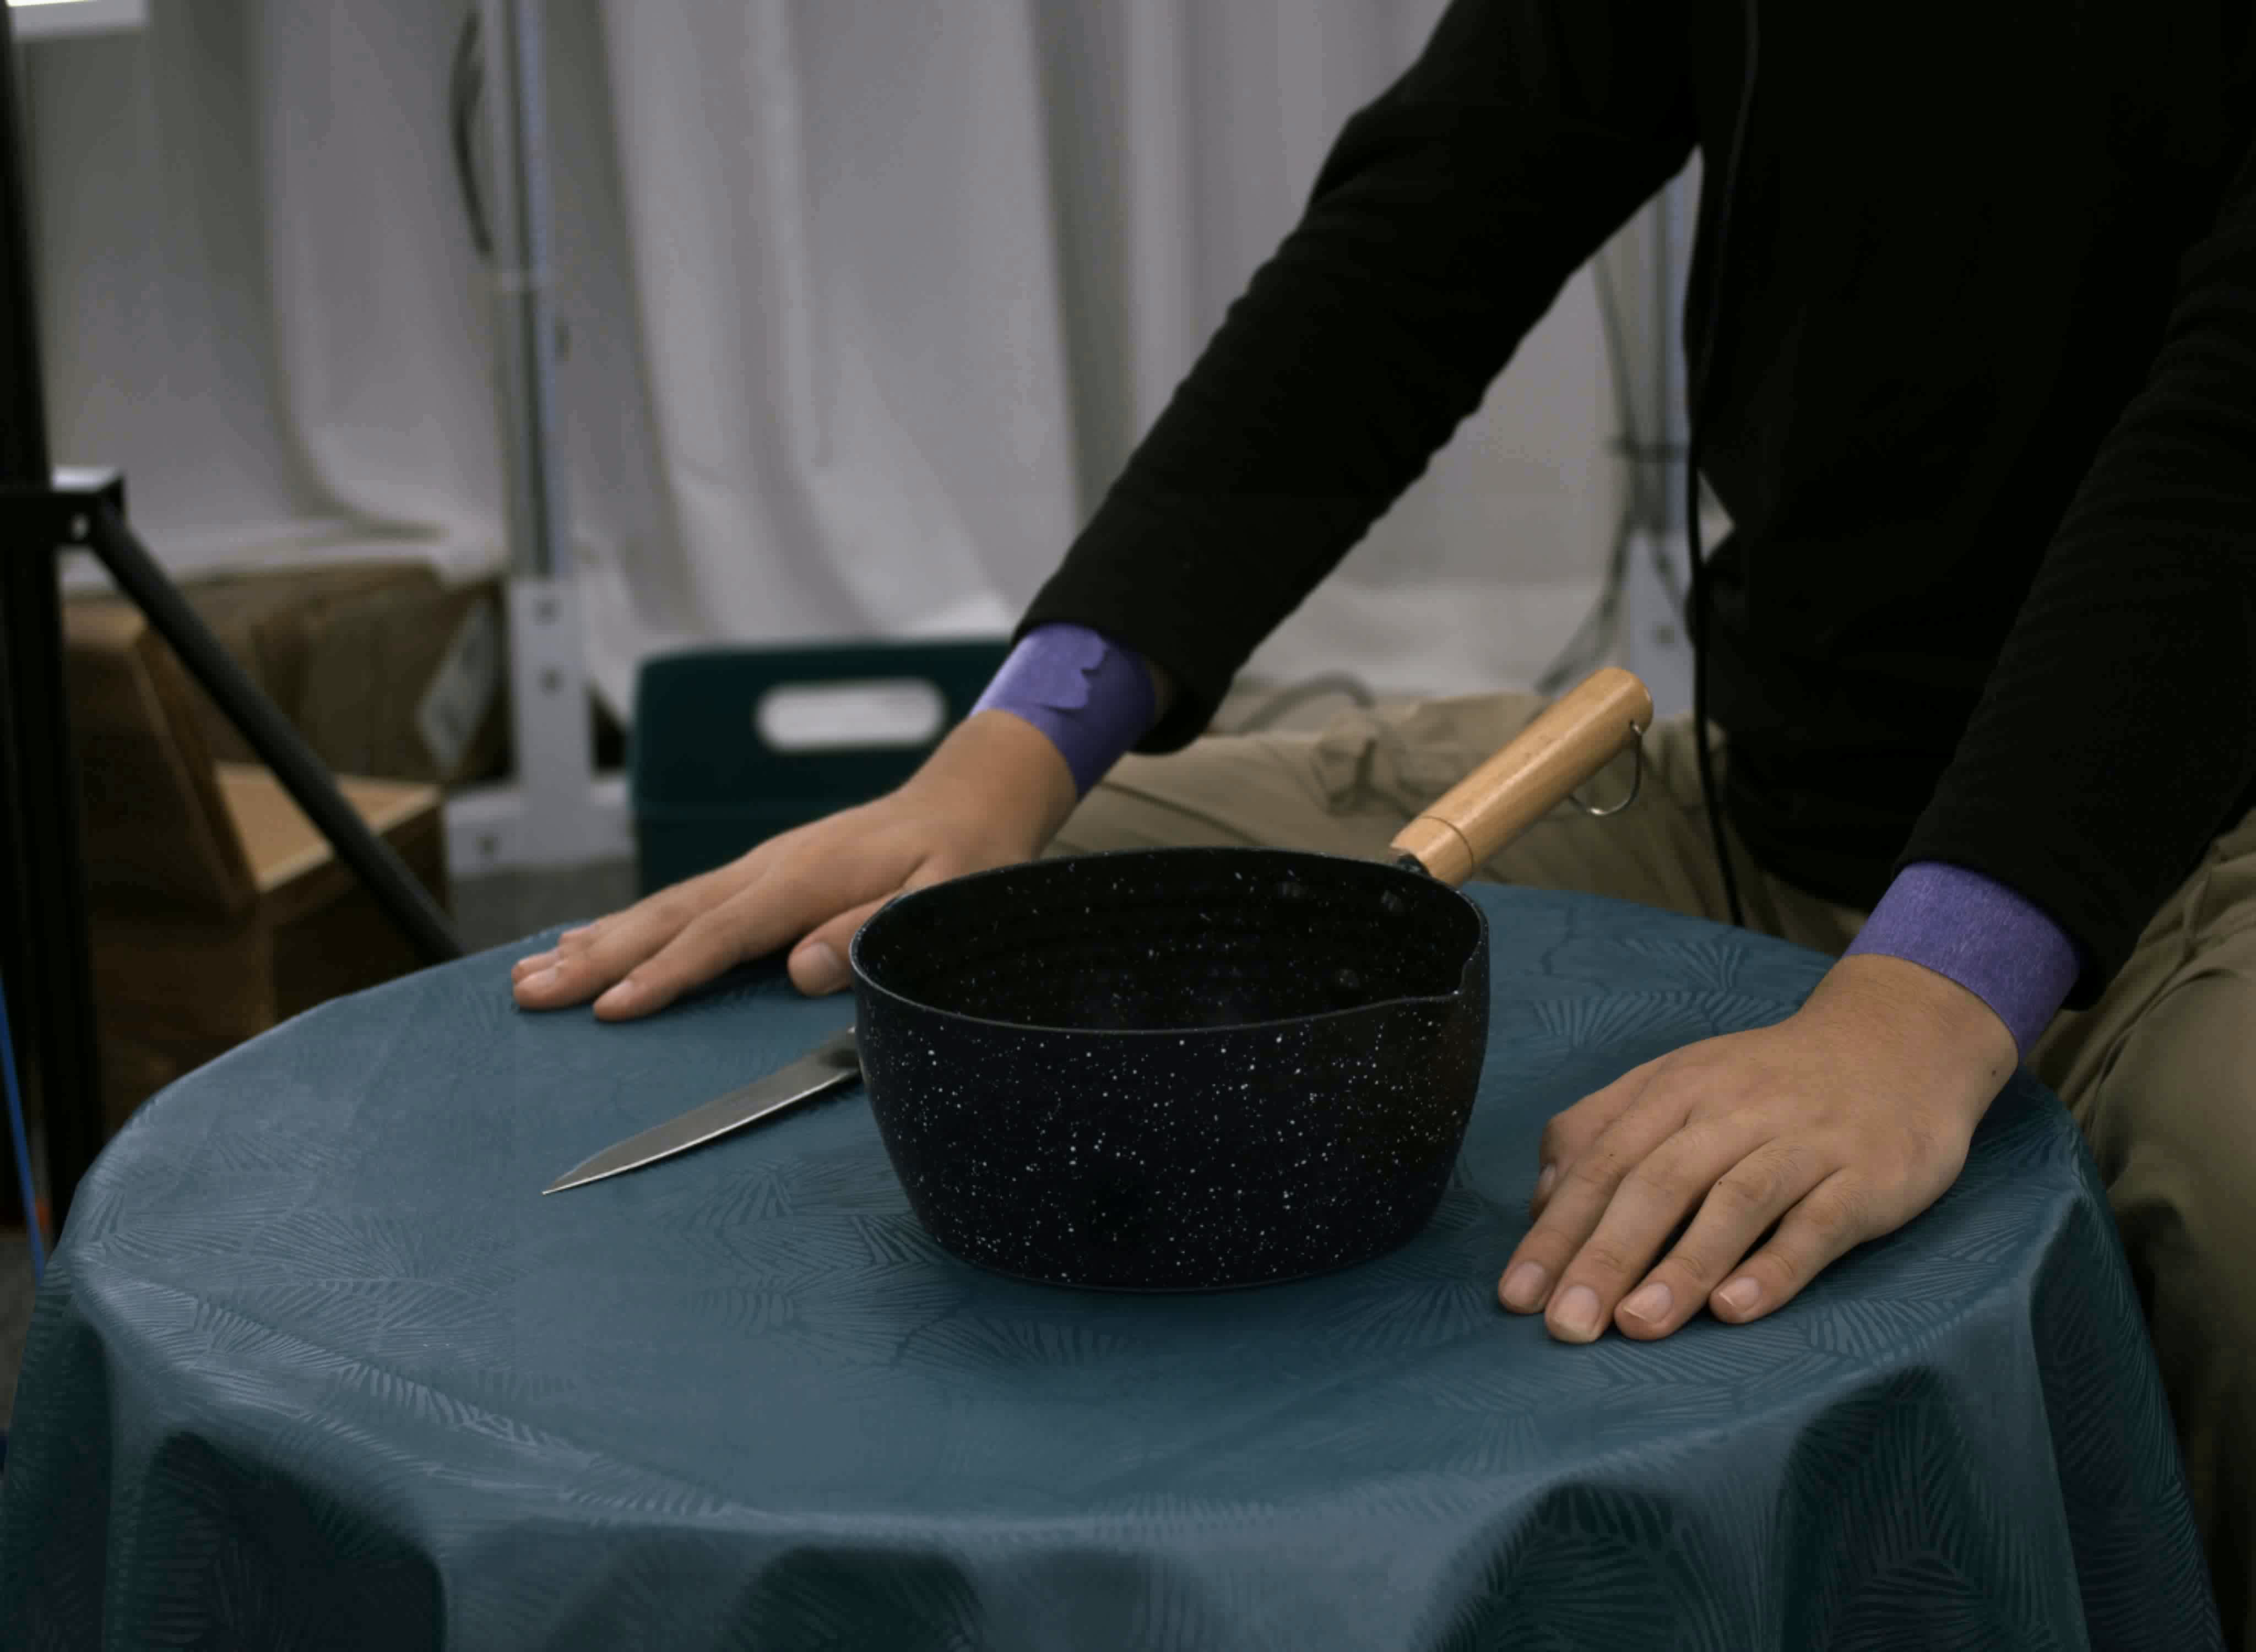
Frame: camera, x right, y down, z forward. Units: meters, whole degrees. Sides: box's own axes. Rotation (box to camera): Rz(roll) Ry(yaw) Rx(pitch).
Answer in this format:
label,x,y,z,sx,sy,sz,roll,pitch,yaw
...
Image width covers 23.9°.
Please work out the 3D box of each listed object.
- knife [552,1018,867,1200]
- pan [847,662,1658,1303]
label,x,y,z,sx,sy,sz,roll,pitch,yaw
knife,-0.097,0.077,1.660,0.025,0.016,0.233,12,24,39
pan,0.059,0.042,1.586,0.212,0.108,0.336,9,20,36
